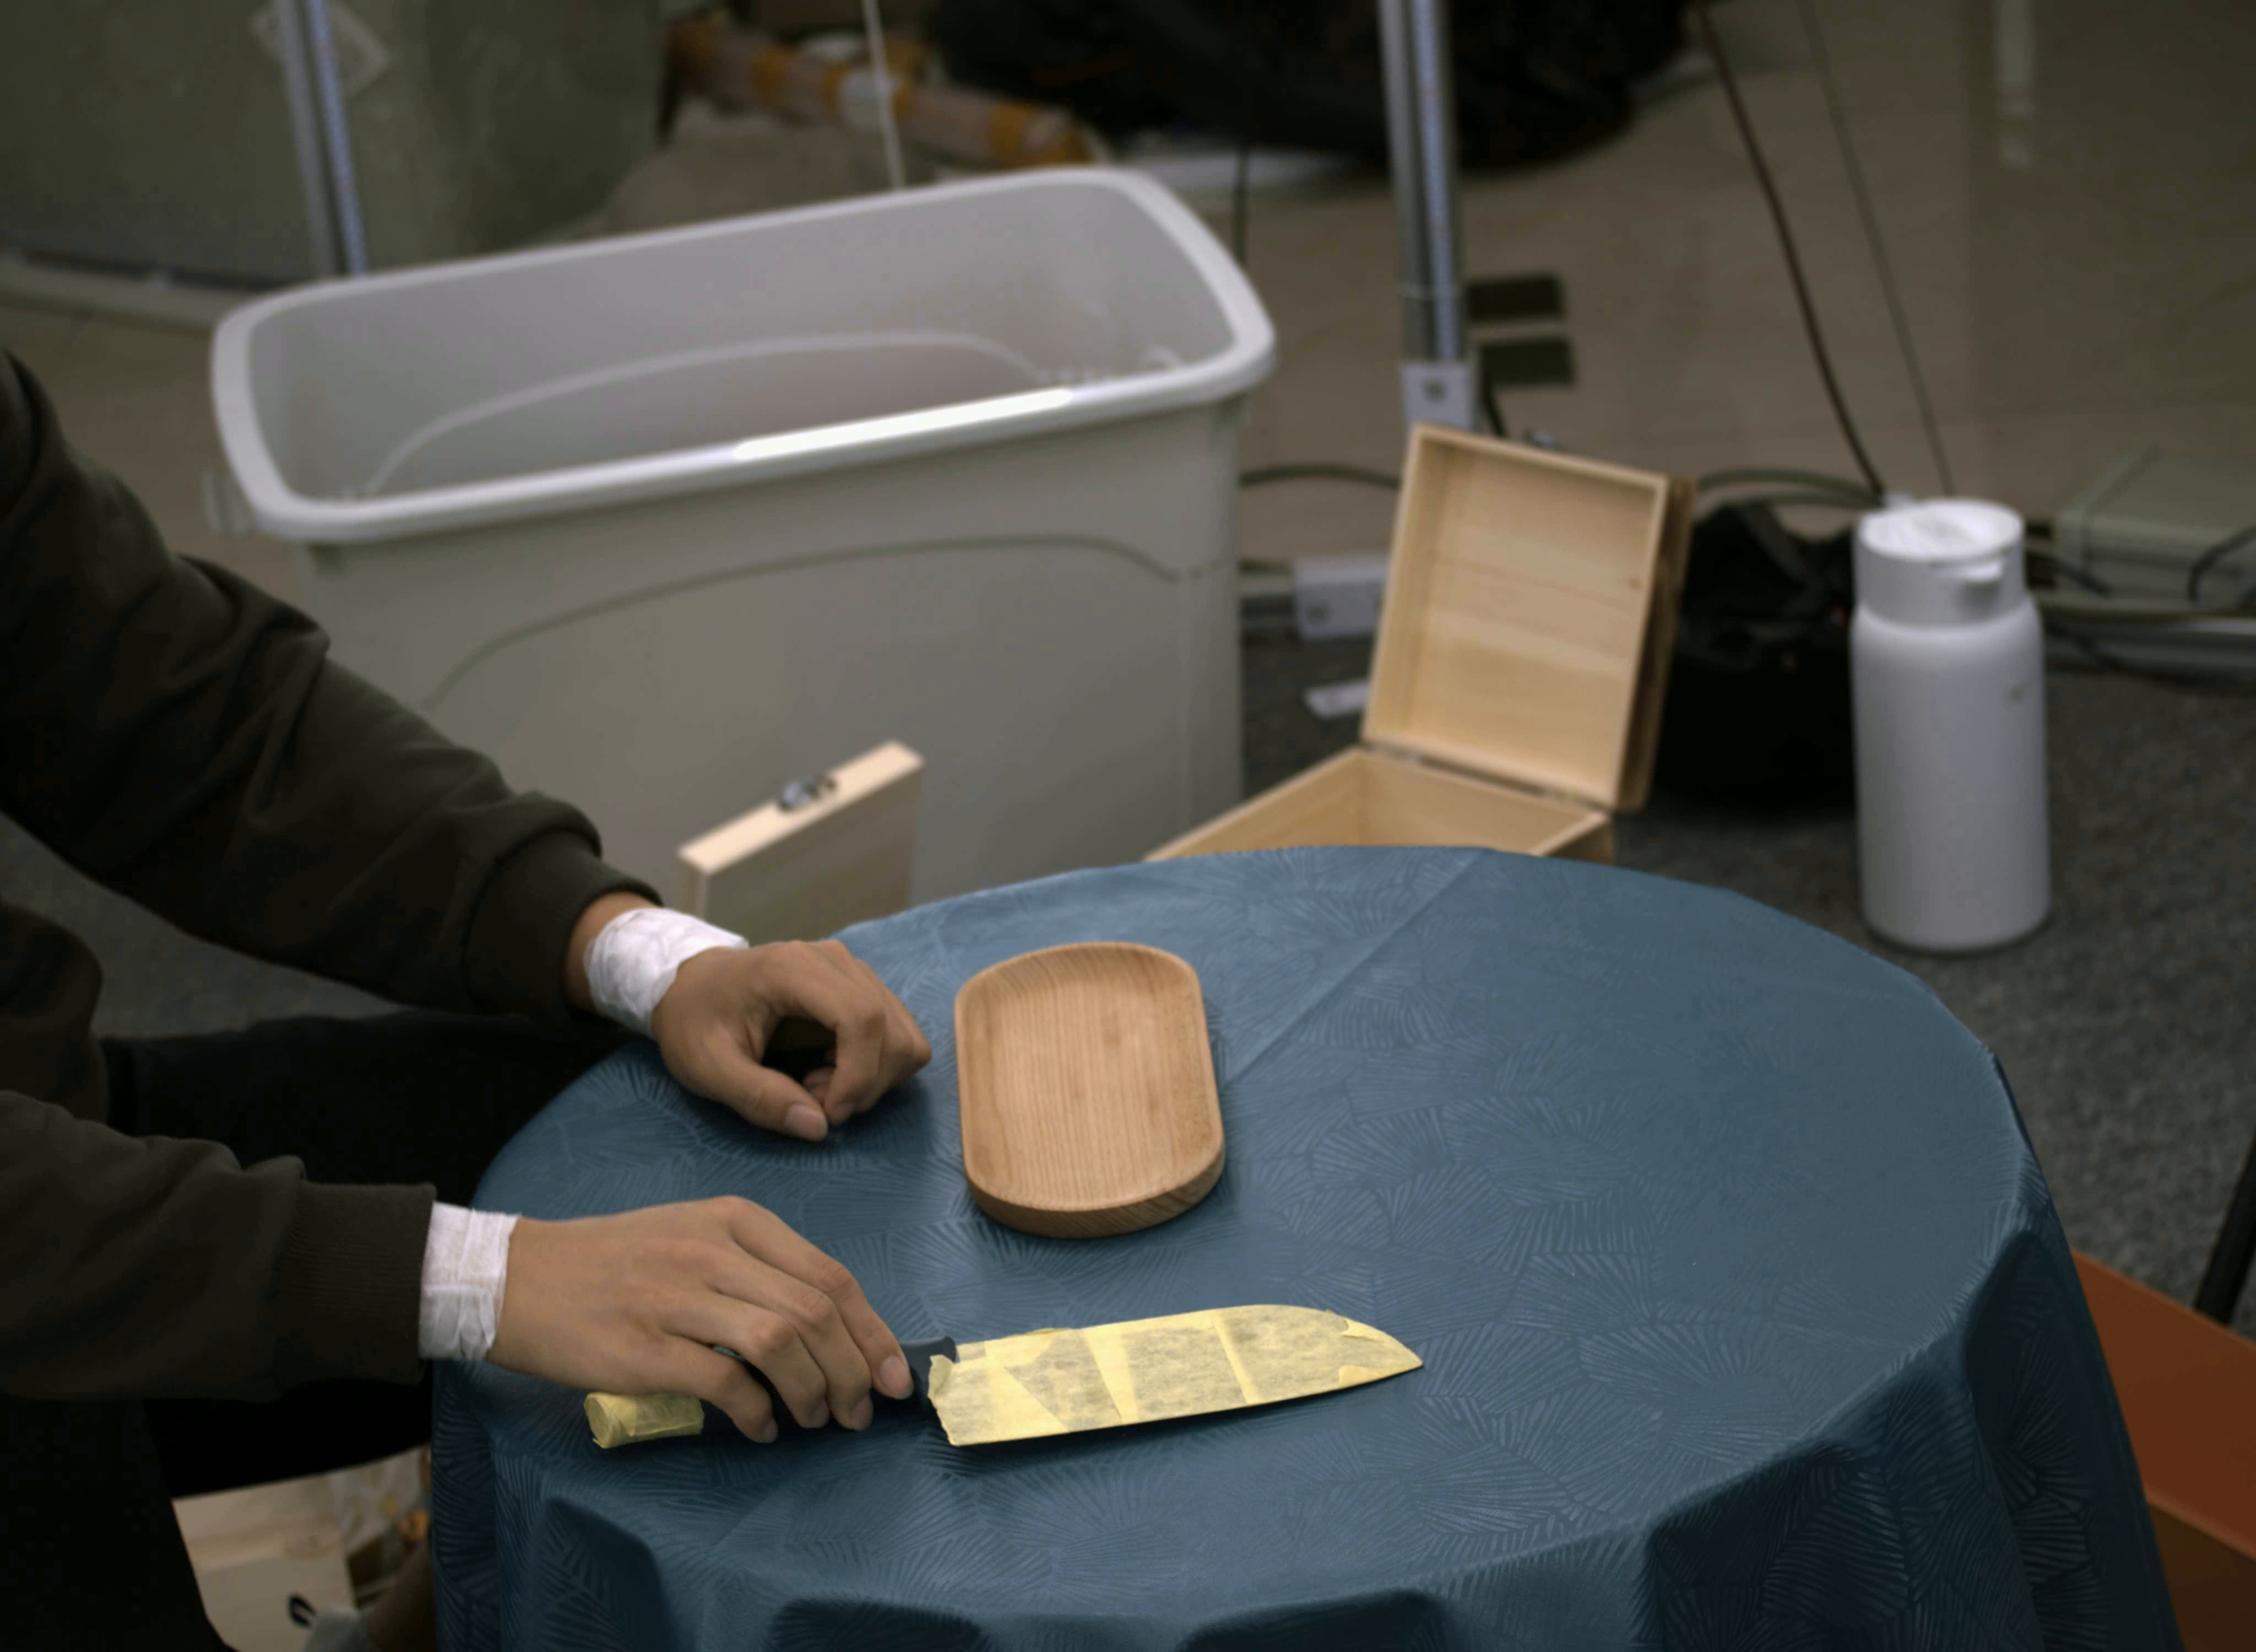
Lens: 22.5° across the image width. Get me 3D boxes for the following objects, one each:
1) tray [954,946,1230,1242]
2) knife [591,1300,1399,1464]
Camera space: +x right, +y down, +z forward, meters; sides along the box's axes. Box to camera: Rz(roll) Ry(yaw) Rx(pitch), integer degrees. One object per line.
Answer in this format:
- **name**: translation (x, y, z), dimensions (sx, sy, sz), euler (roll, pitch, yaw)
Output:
- **tray**: translation (-0.015, 0.103, 2.215), dimensions (0.101, 0.020, 0.228), euler (-8, 26, 0)
- **knife**: translation (-0.045, 0.199, 2.011), dimensions (0.289, 0.027, 0.080), euler (-7, 20, -6)
